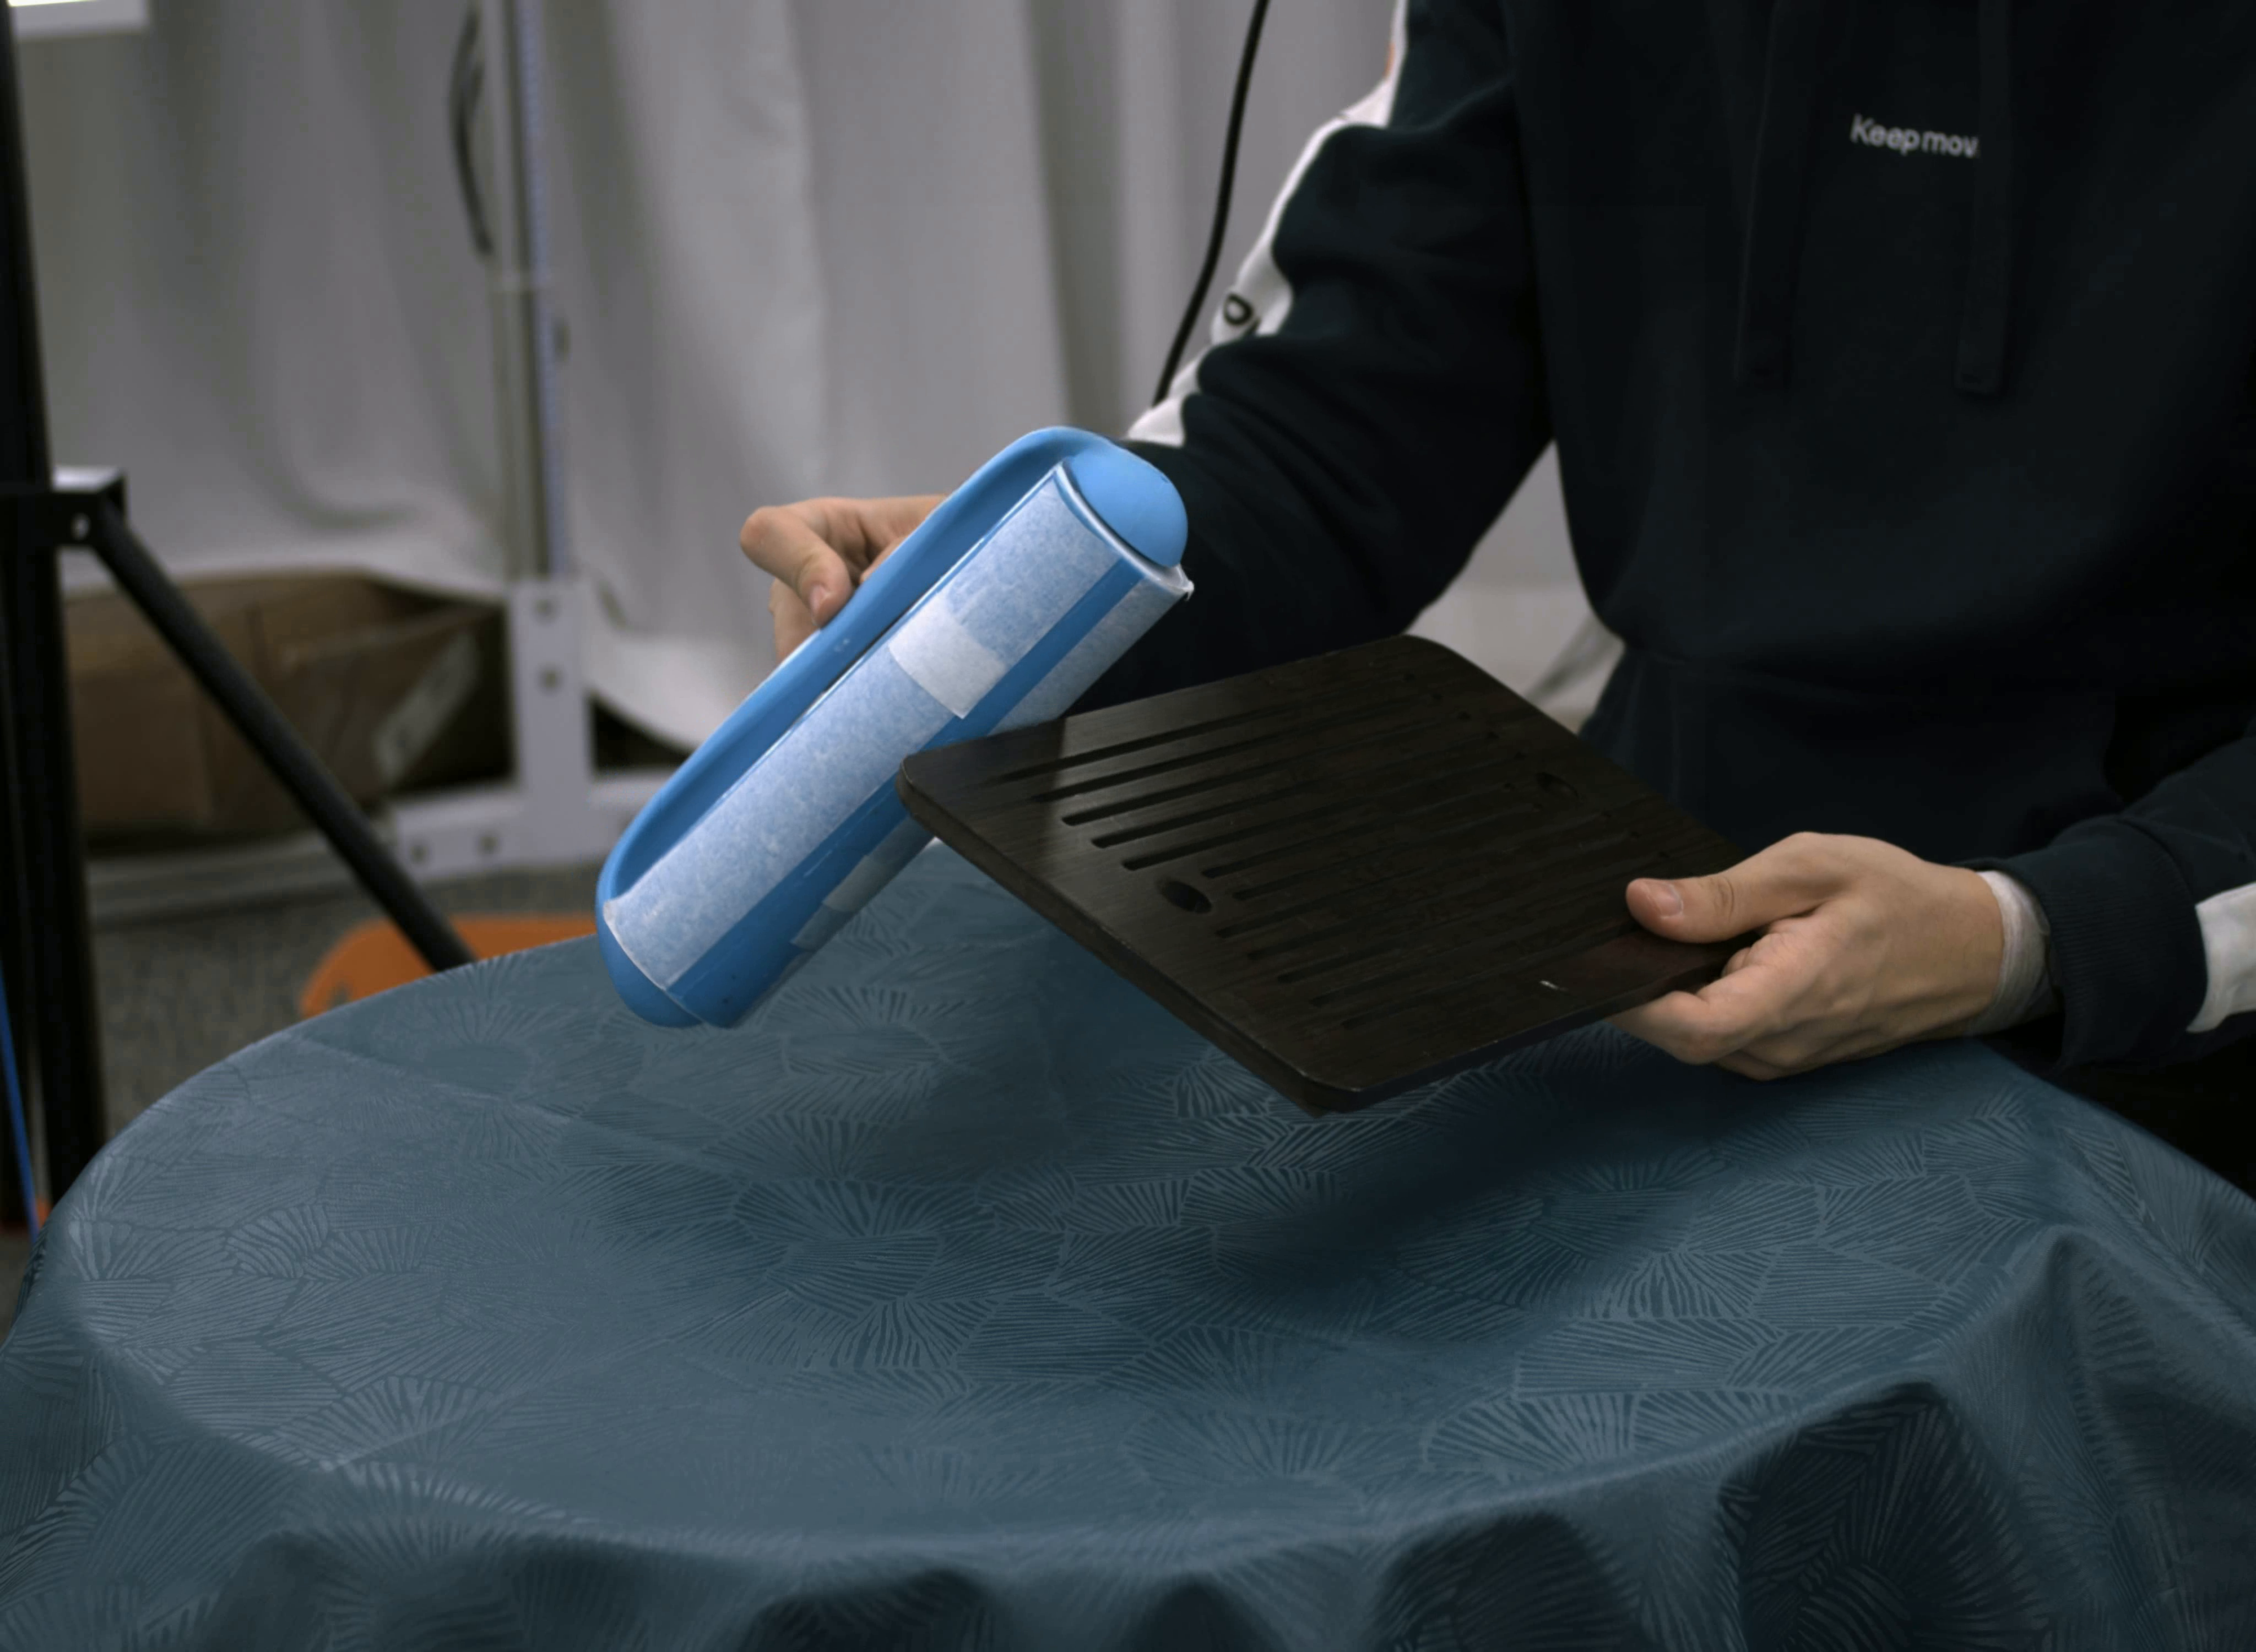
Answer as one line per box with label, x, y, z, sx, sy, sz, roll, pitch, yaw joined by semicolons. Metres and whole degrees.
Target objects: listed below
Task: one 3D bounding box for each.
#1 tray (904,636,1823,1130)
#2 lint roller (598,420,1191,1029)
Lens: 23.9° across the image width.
tray;0.075;0.013;1.570;0.173;0.019;0.299;36;26;24
lint roller;-0.070;-0.042;1.627;0.230;0.067;0.181;-46;11;12
